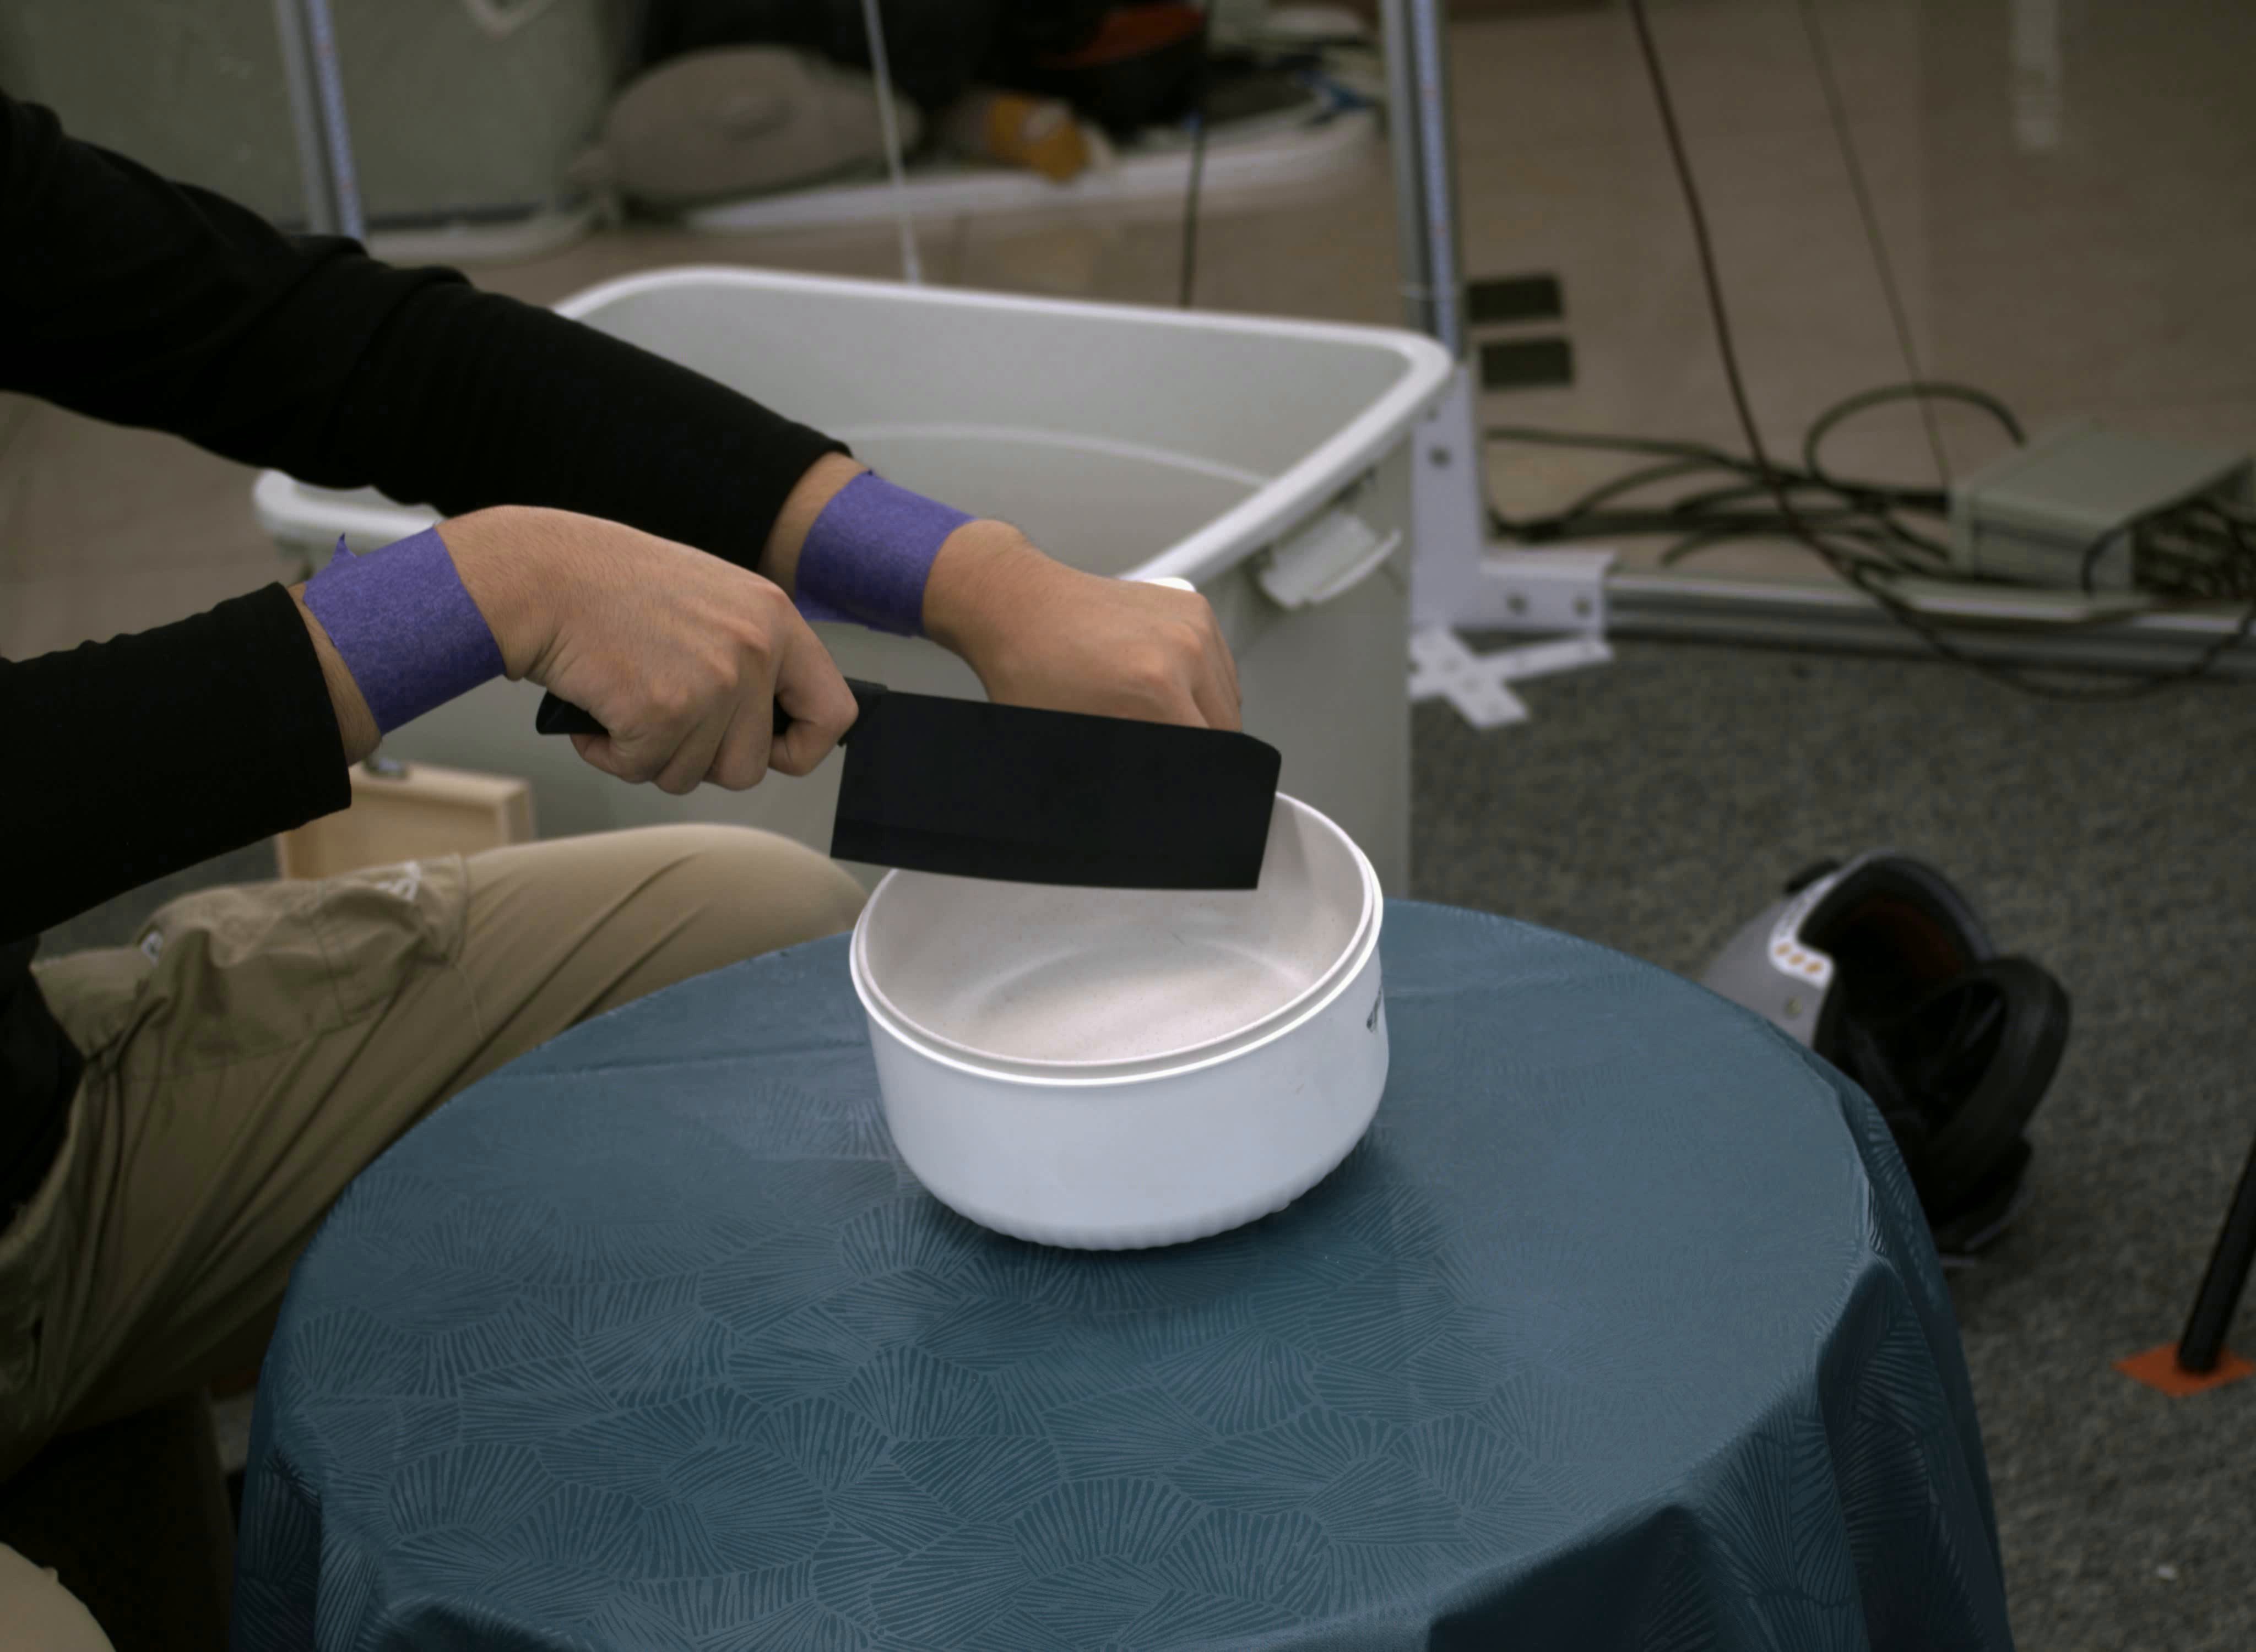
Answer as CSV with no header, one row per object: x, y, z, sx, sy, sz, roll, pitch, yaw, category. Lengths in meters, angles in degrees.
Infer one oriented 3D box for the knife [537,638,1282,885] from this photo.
-0.077,-0.025,2.092,0.303,0.081,0.020,12,7,-28,knife

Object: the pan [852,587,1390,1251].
0.006,0.035,2.213,0.201,0.104,0.349,-4,32,7,pan
